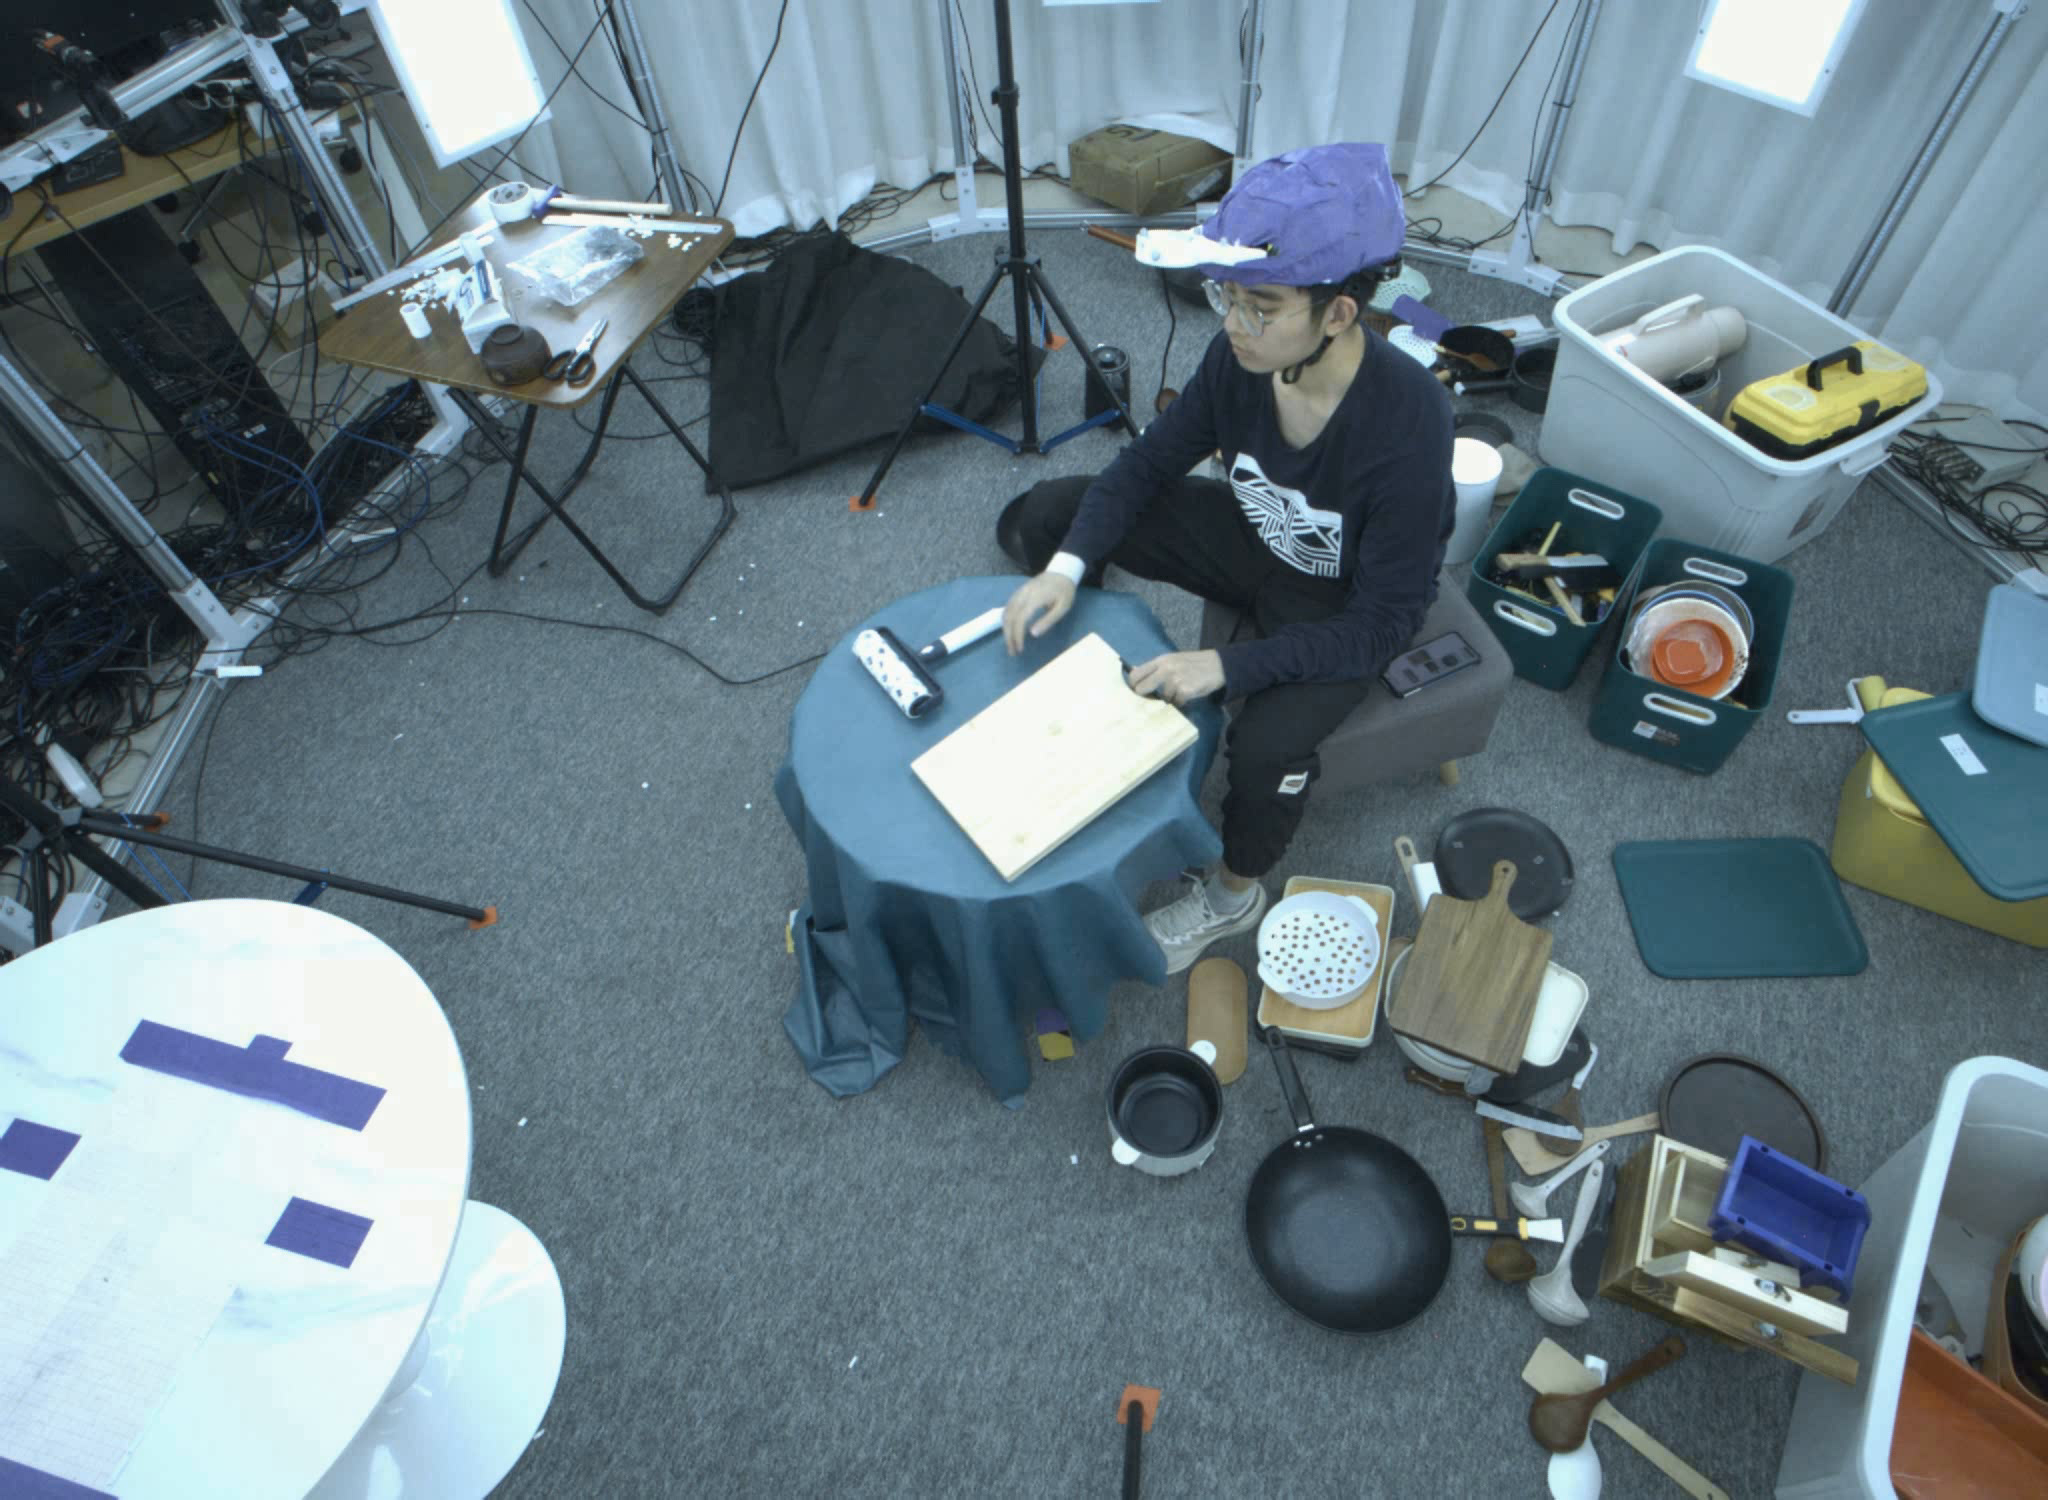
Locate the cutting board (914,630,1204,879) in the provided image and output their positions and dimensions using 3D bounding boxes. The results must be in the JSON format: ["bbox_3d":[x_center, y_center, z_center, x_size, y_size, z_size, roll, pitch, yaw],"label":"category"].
[{"bbox_3d":[0.045,-0.002,1.755,0.350,0.024,0.246,-37,61,-13],"label":"cutting board"}]

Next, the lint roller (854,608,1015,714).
[{"bbox_3d":[-0.119,-0.167,1.892,0.249,0.051,0.173,-31,58,-22],"label":"lint roller"}]
